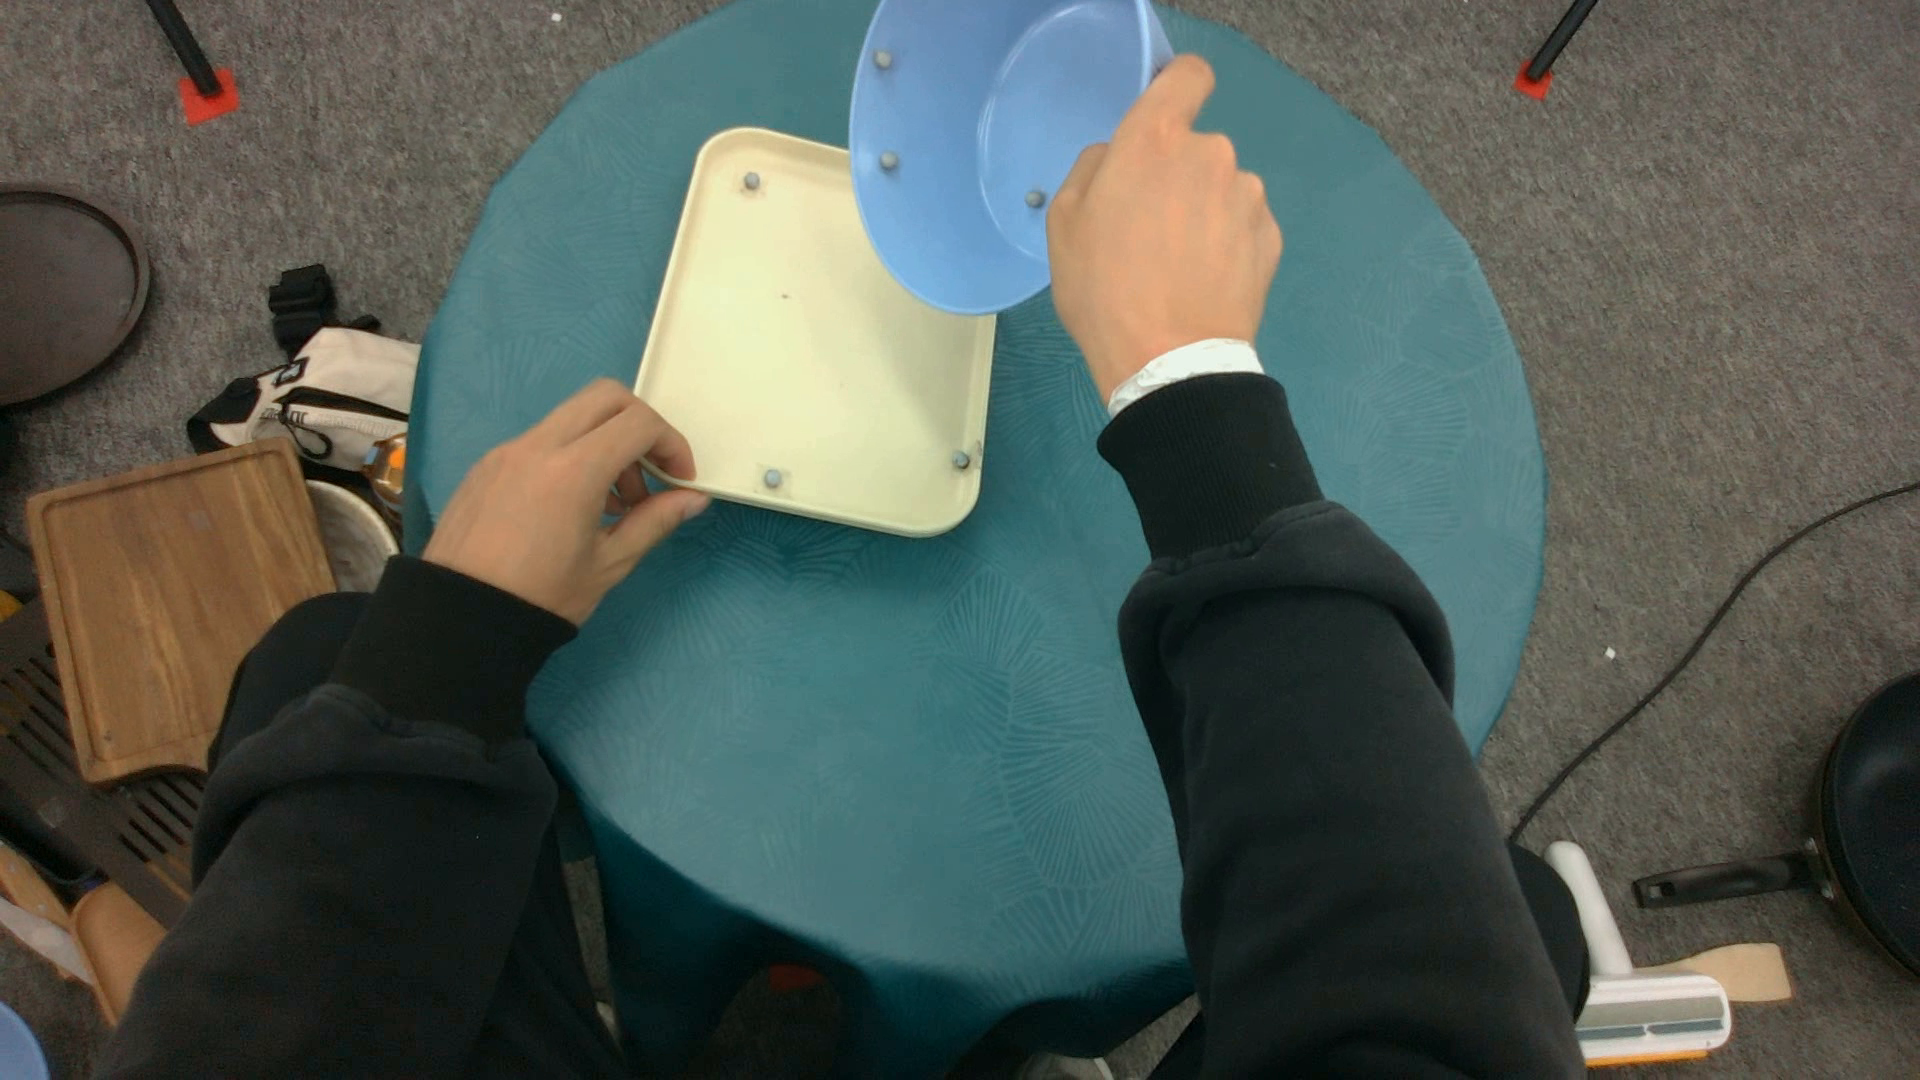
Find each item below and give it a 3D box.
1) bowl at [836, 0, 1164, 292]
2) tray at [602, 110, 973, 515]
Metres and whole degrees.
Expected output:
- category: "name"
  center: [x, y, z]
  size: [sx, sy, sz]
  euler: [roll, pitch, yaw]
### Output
- category: "bowl"
  center: [0.025, -0.196, 0.613]
  size: [0.070, 0.175, 0.176]
  euler: [-3, 64, -45]
- category: "tray"
  center: [-0.078, -0.121, 0.704]
  size: [0.171, 0.017, 0.241]
  euler: [11, 57, -9]
